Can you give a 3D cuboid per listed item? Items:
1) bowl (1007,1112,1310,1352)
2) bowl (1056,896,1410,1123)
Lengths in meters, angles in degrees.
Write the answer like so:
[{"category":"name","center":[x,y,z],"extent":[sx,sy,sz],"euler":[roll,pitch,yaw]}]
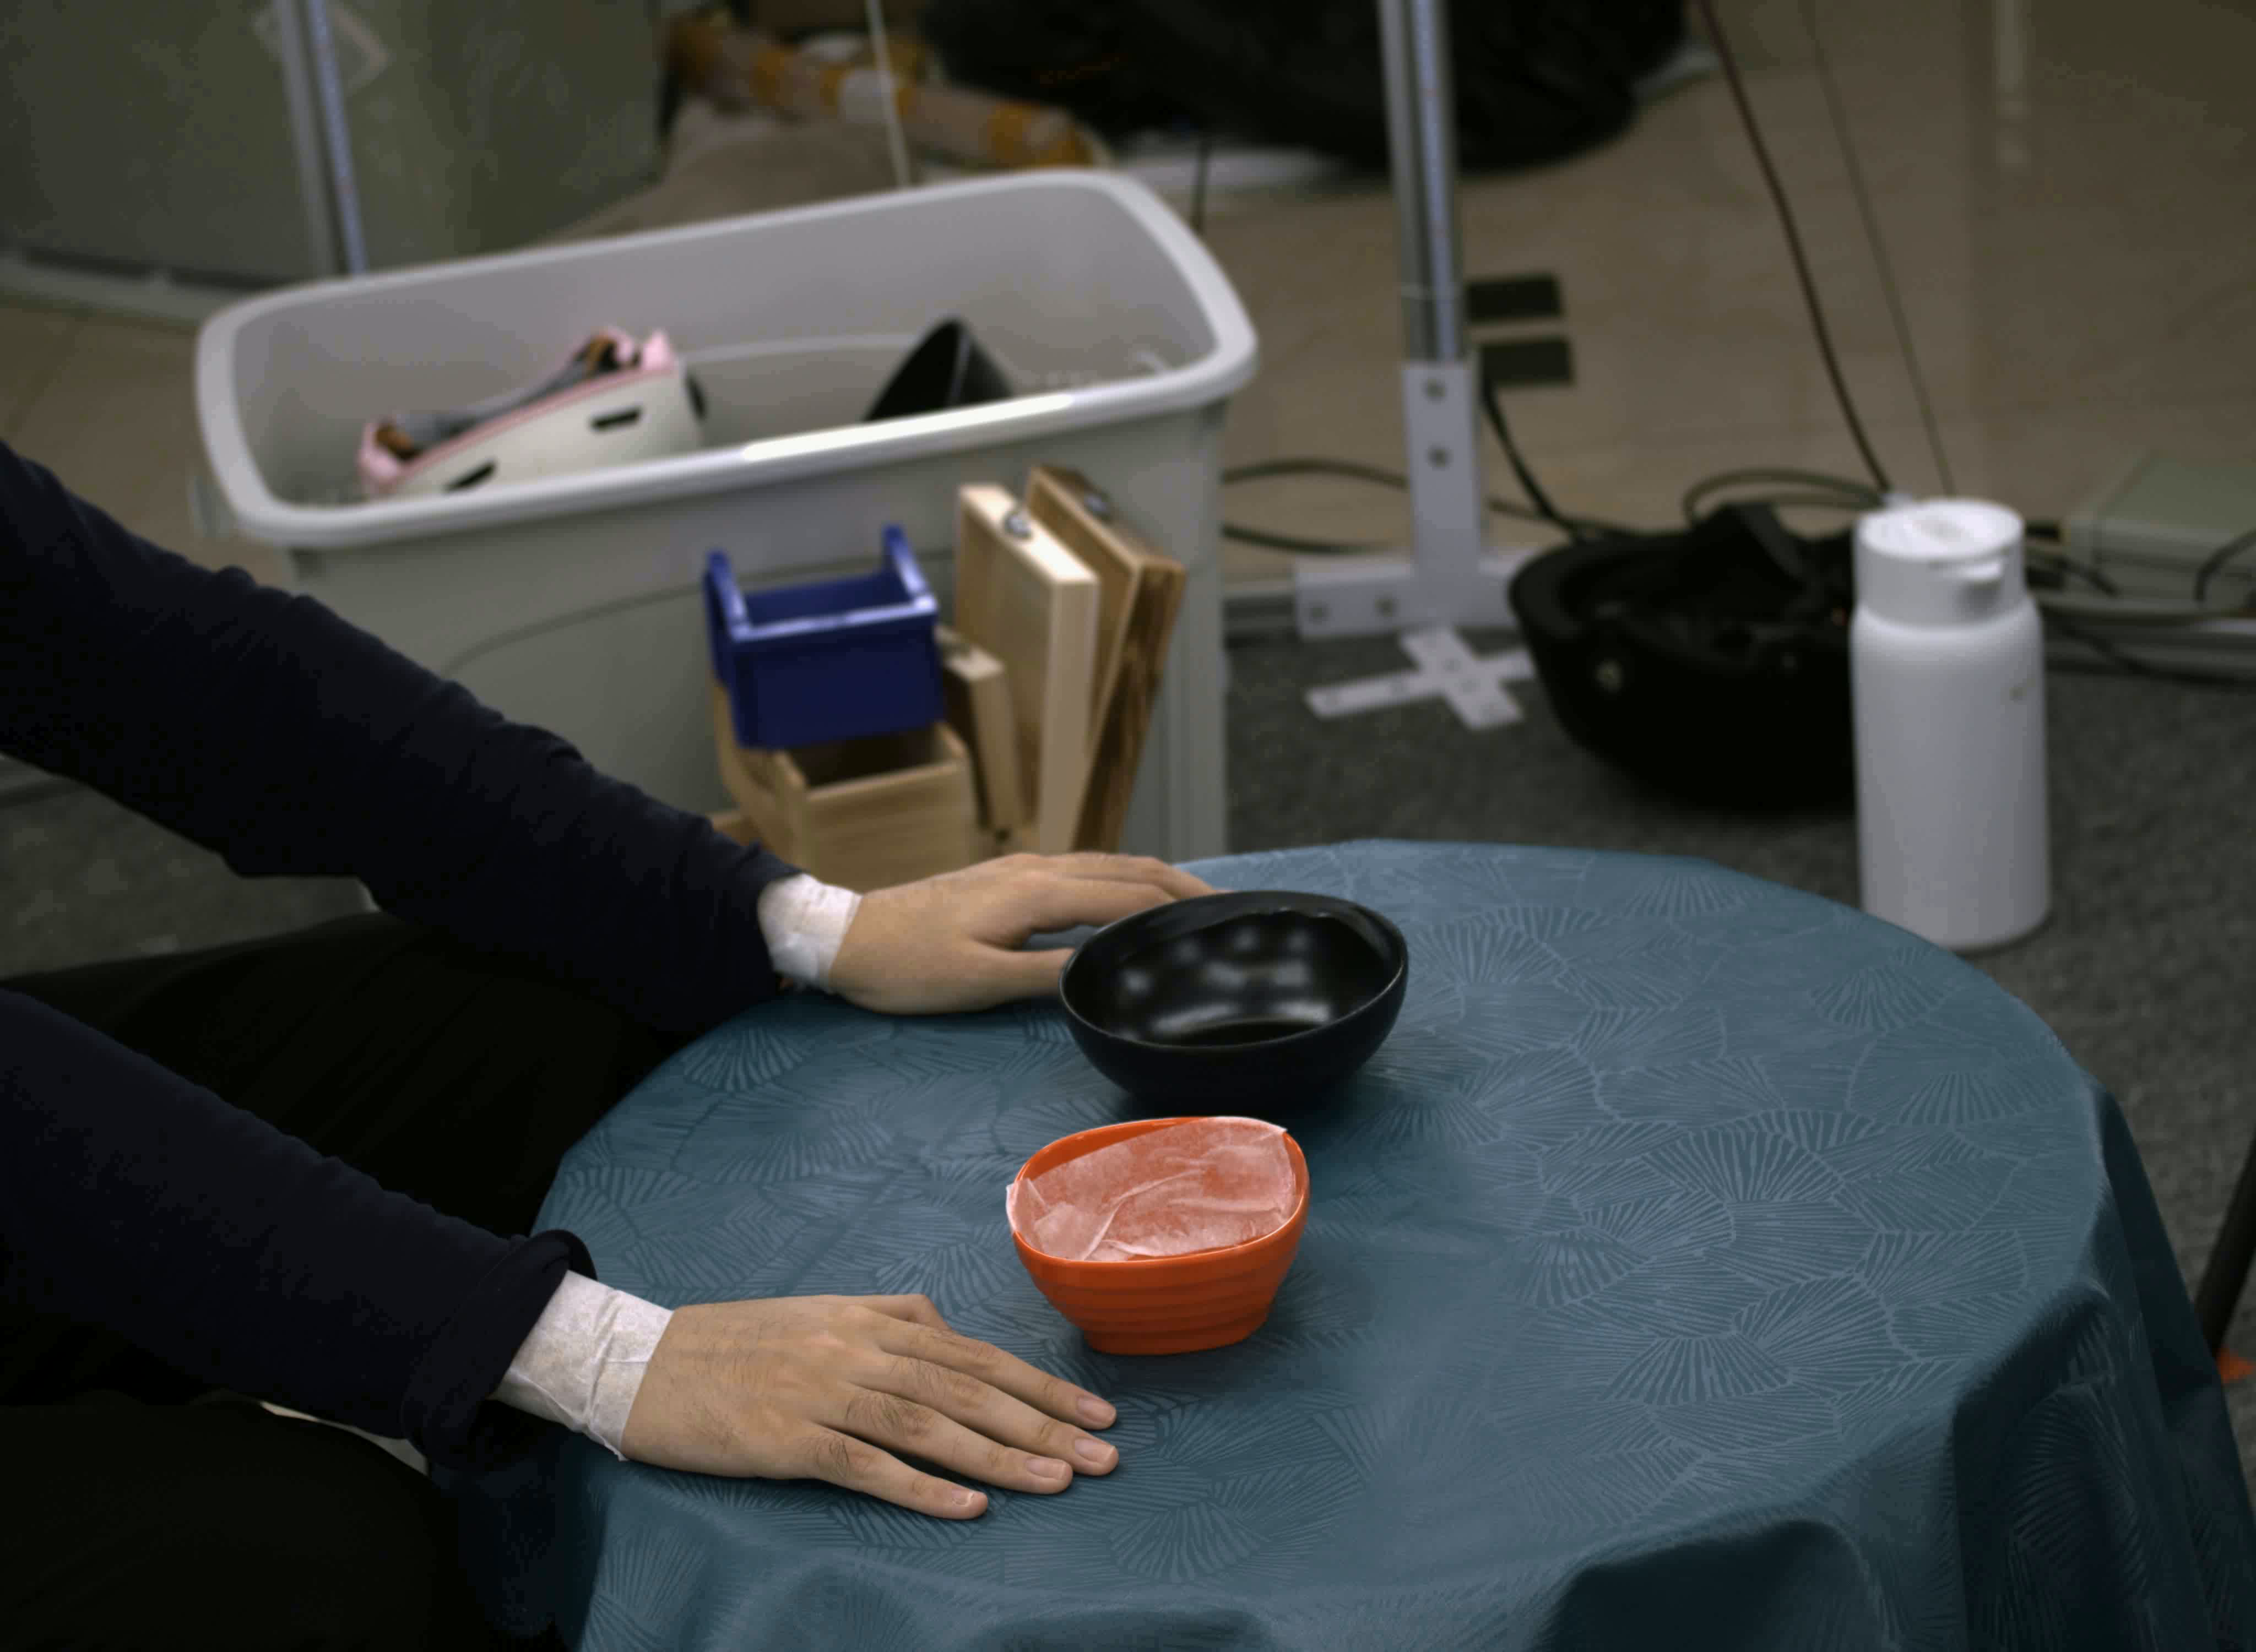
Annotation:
[{"category":"bowl","center":[0.013,0.152,2.057],"extent":[0.119,0.052,0.117],"euler":[-4,26,2]},{"category":"bowl","center":[0.044,0.079,2.217],"extent":[0.140,0.050,0.138],"euler":[-9,24,4]}]
